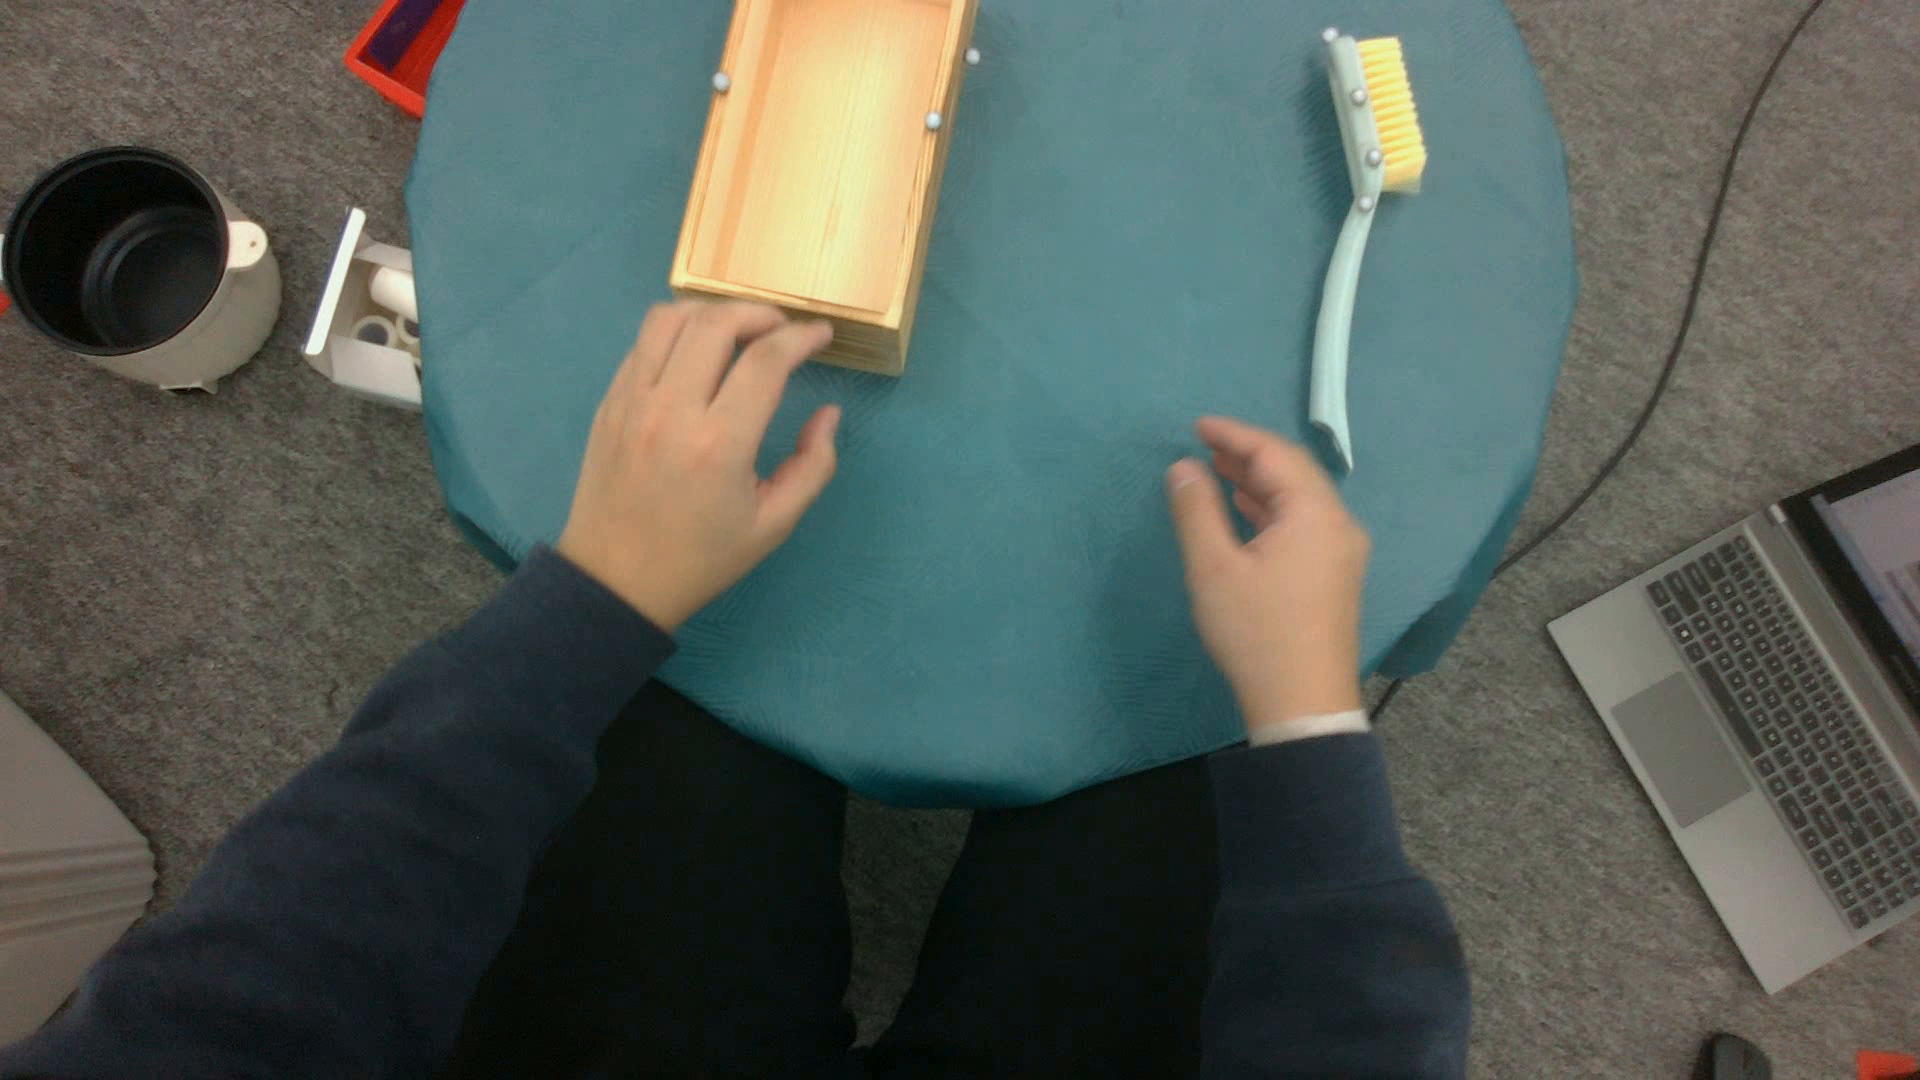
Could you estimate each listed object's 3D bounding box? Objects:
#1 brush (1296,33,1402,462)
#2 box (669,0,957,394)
[{"bbox_3d":[0.201,-0.153,0.706,0.049,0.038,0.229,-1,79,7],"label":"brush"},{"bbox_3d":[-0.068,-0.190,0.689,0.107,0.080,0.212,7,79,1],"label":"box"}]
